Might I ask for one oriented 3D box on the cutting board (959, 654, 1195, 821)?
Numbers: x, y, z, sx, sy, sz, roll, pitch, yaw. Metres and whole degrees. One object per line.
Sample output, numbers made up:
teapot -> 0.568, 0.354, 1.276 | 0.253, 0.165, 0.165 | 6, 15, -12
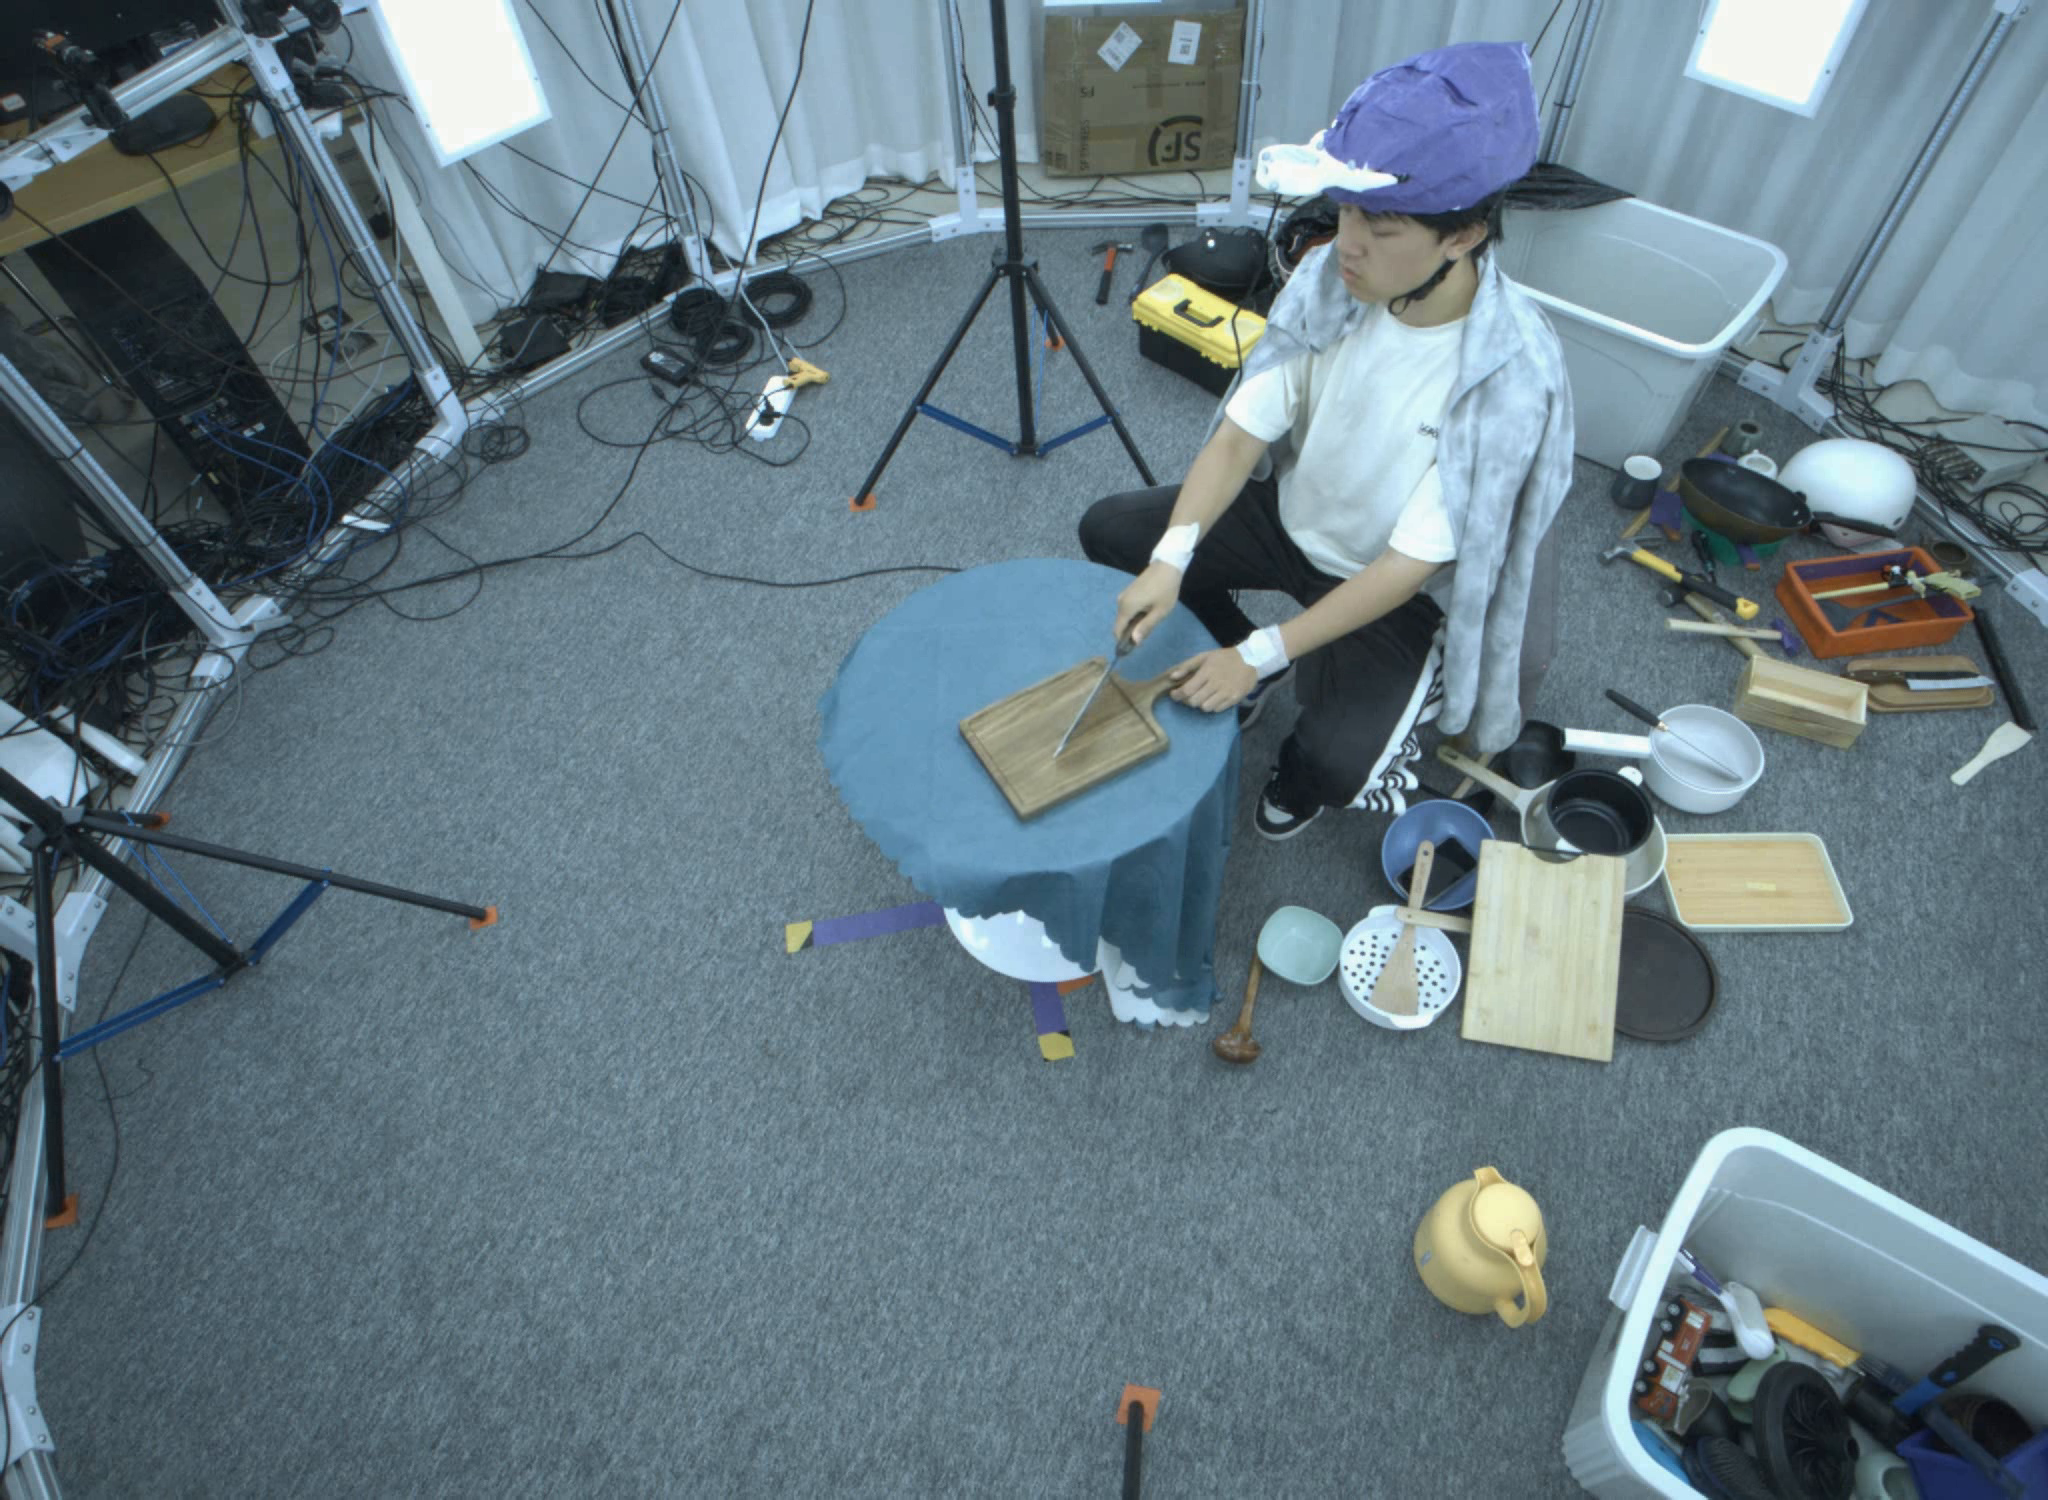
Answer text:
cutting board -> 0.102, -0.045, 1.805 | 0.355, 0.023, 0.197 | -26, 58, -16

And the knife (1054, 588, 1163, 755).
knife -> 0.122, -0.116, 1.792 | 0.024, 0.068, 0.300 | 33, 67, -3
